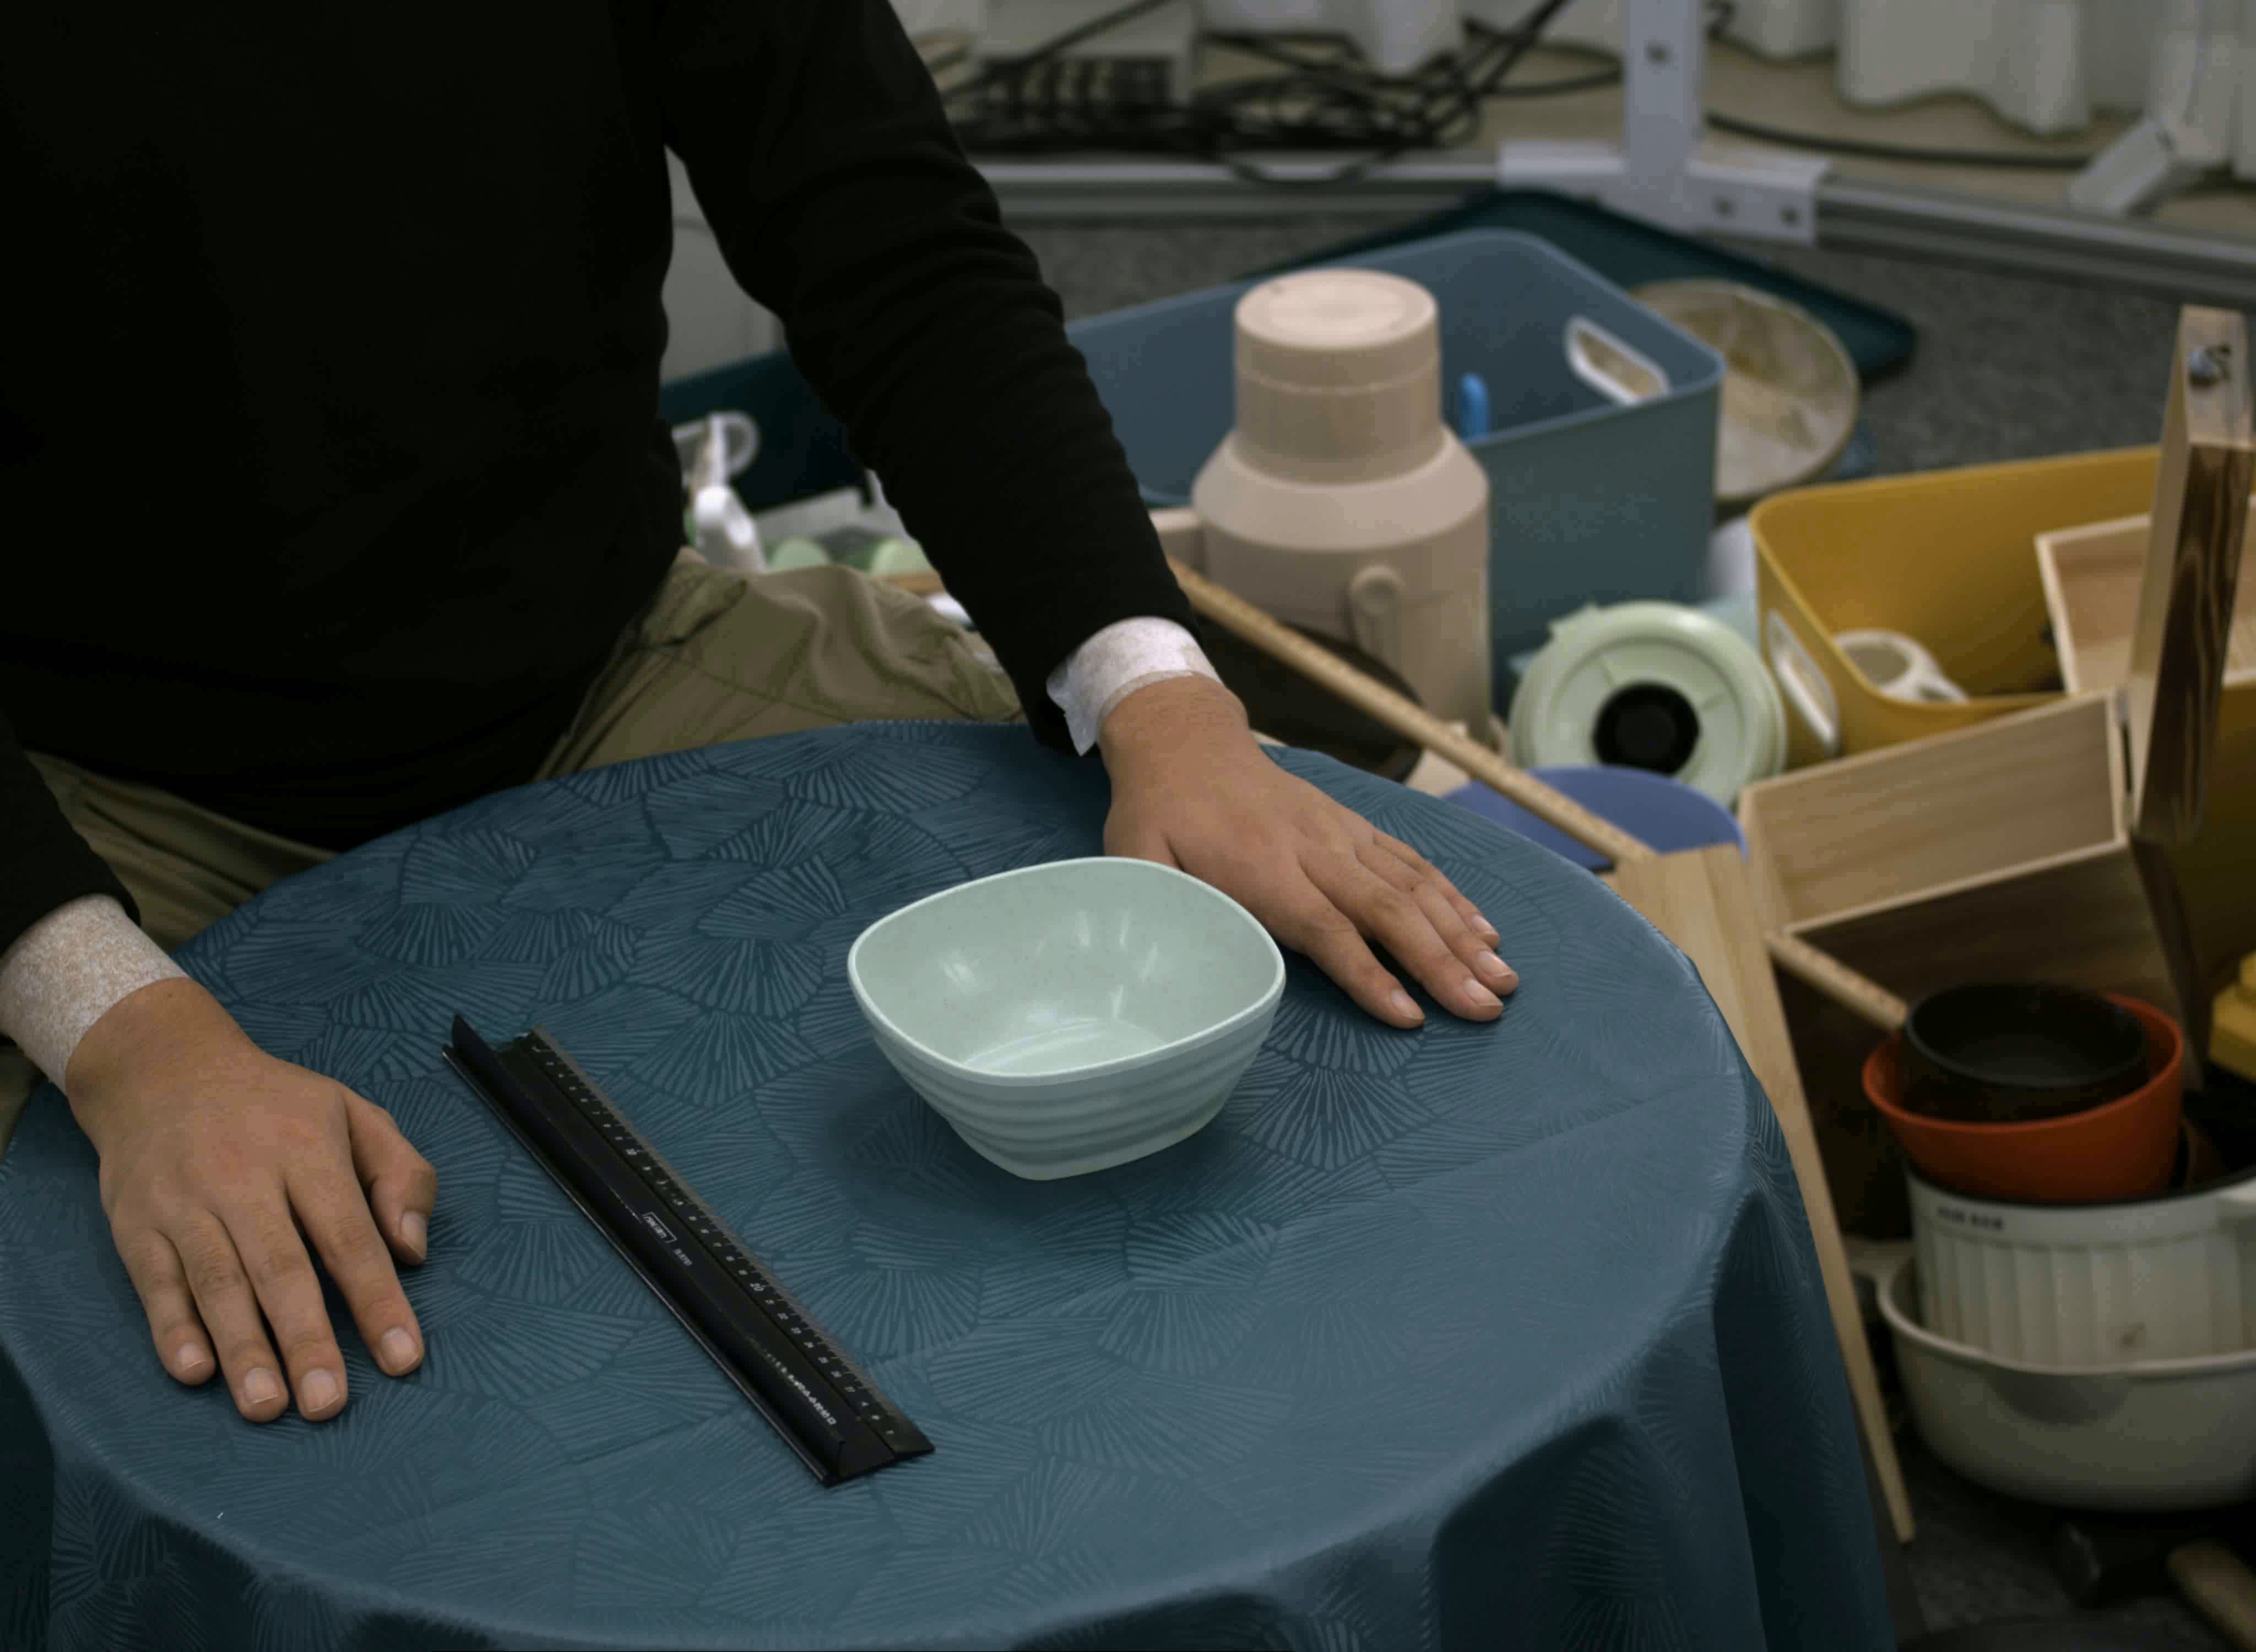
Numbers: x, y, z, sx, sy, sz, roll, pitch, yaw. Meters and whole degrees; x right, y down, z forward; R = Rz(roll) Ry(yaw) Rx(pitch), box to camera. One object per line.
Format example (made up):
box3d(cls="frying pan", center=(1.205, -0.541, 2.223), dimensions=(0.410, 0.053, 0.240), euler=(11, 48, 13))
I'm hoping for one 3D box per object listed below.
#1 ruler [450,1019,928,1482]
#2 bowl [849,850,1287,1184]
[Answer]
box3d(cls="ruler", center=(-0.148, 0.131, 1.842), dimensions=(0.039, 0.017, 0.314), euler=(-12, 28, -25))
box3d(cls="bowl", center=(-0.019, 0.071, 1.901), dimensions=(0.151, 0.058, 0.154), euler=(-2, 29, 1))
